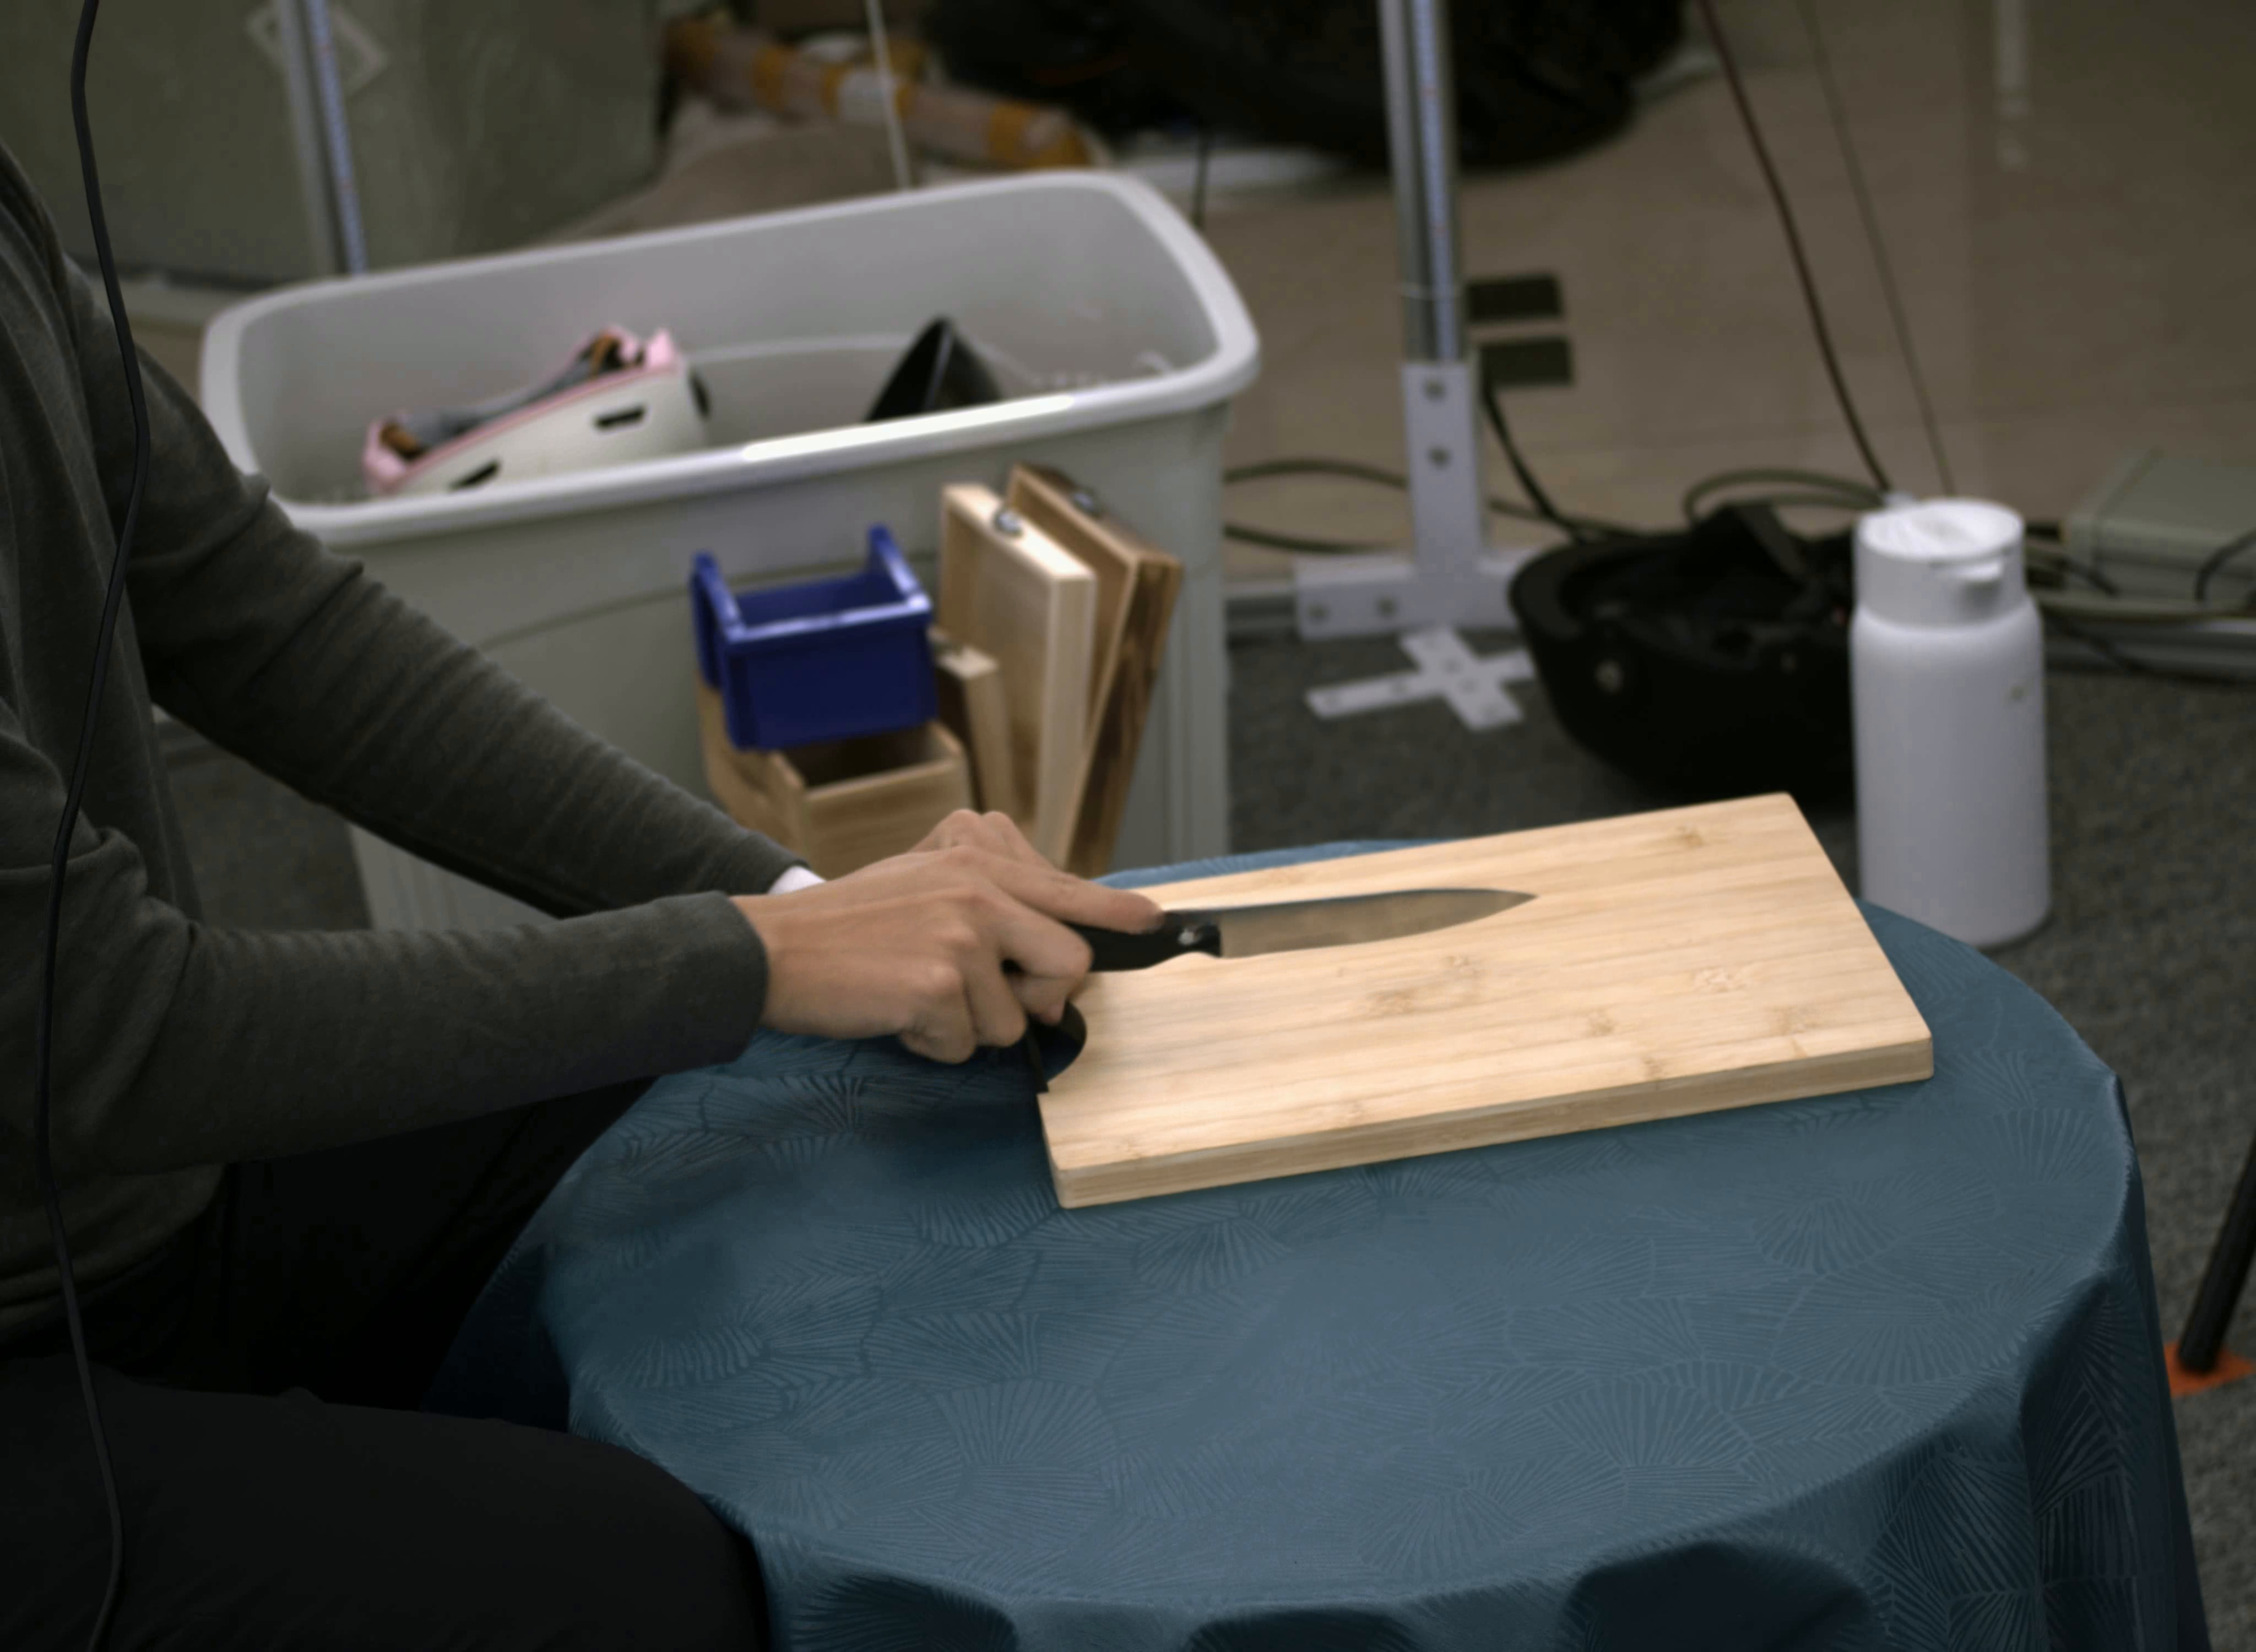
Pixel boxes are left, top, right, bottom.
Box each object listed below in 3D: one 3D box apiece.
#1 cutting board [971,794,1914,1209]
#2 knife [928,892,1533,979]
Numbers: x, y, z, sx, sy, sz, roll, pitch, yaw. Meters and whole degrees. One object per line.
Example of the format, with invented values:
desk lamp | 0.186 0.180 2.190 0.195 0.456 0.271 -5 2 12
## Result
cutting board | 0.120 0.067 2.259 0.348 0.024 0.247 -9 24 -5
knife | 0.040 0.040 2.205 0.238 0.025 0.016 -5 23 -5
